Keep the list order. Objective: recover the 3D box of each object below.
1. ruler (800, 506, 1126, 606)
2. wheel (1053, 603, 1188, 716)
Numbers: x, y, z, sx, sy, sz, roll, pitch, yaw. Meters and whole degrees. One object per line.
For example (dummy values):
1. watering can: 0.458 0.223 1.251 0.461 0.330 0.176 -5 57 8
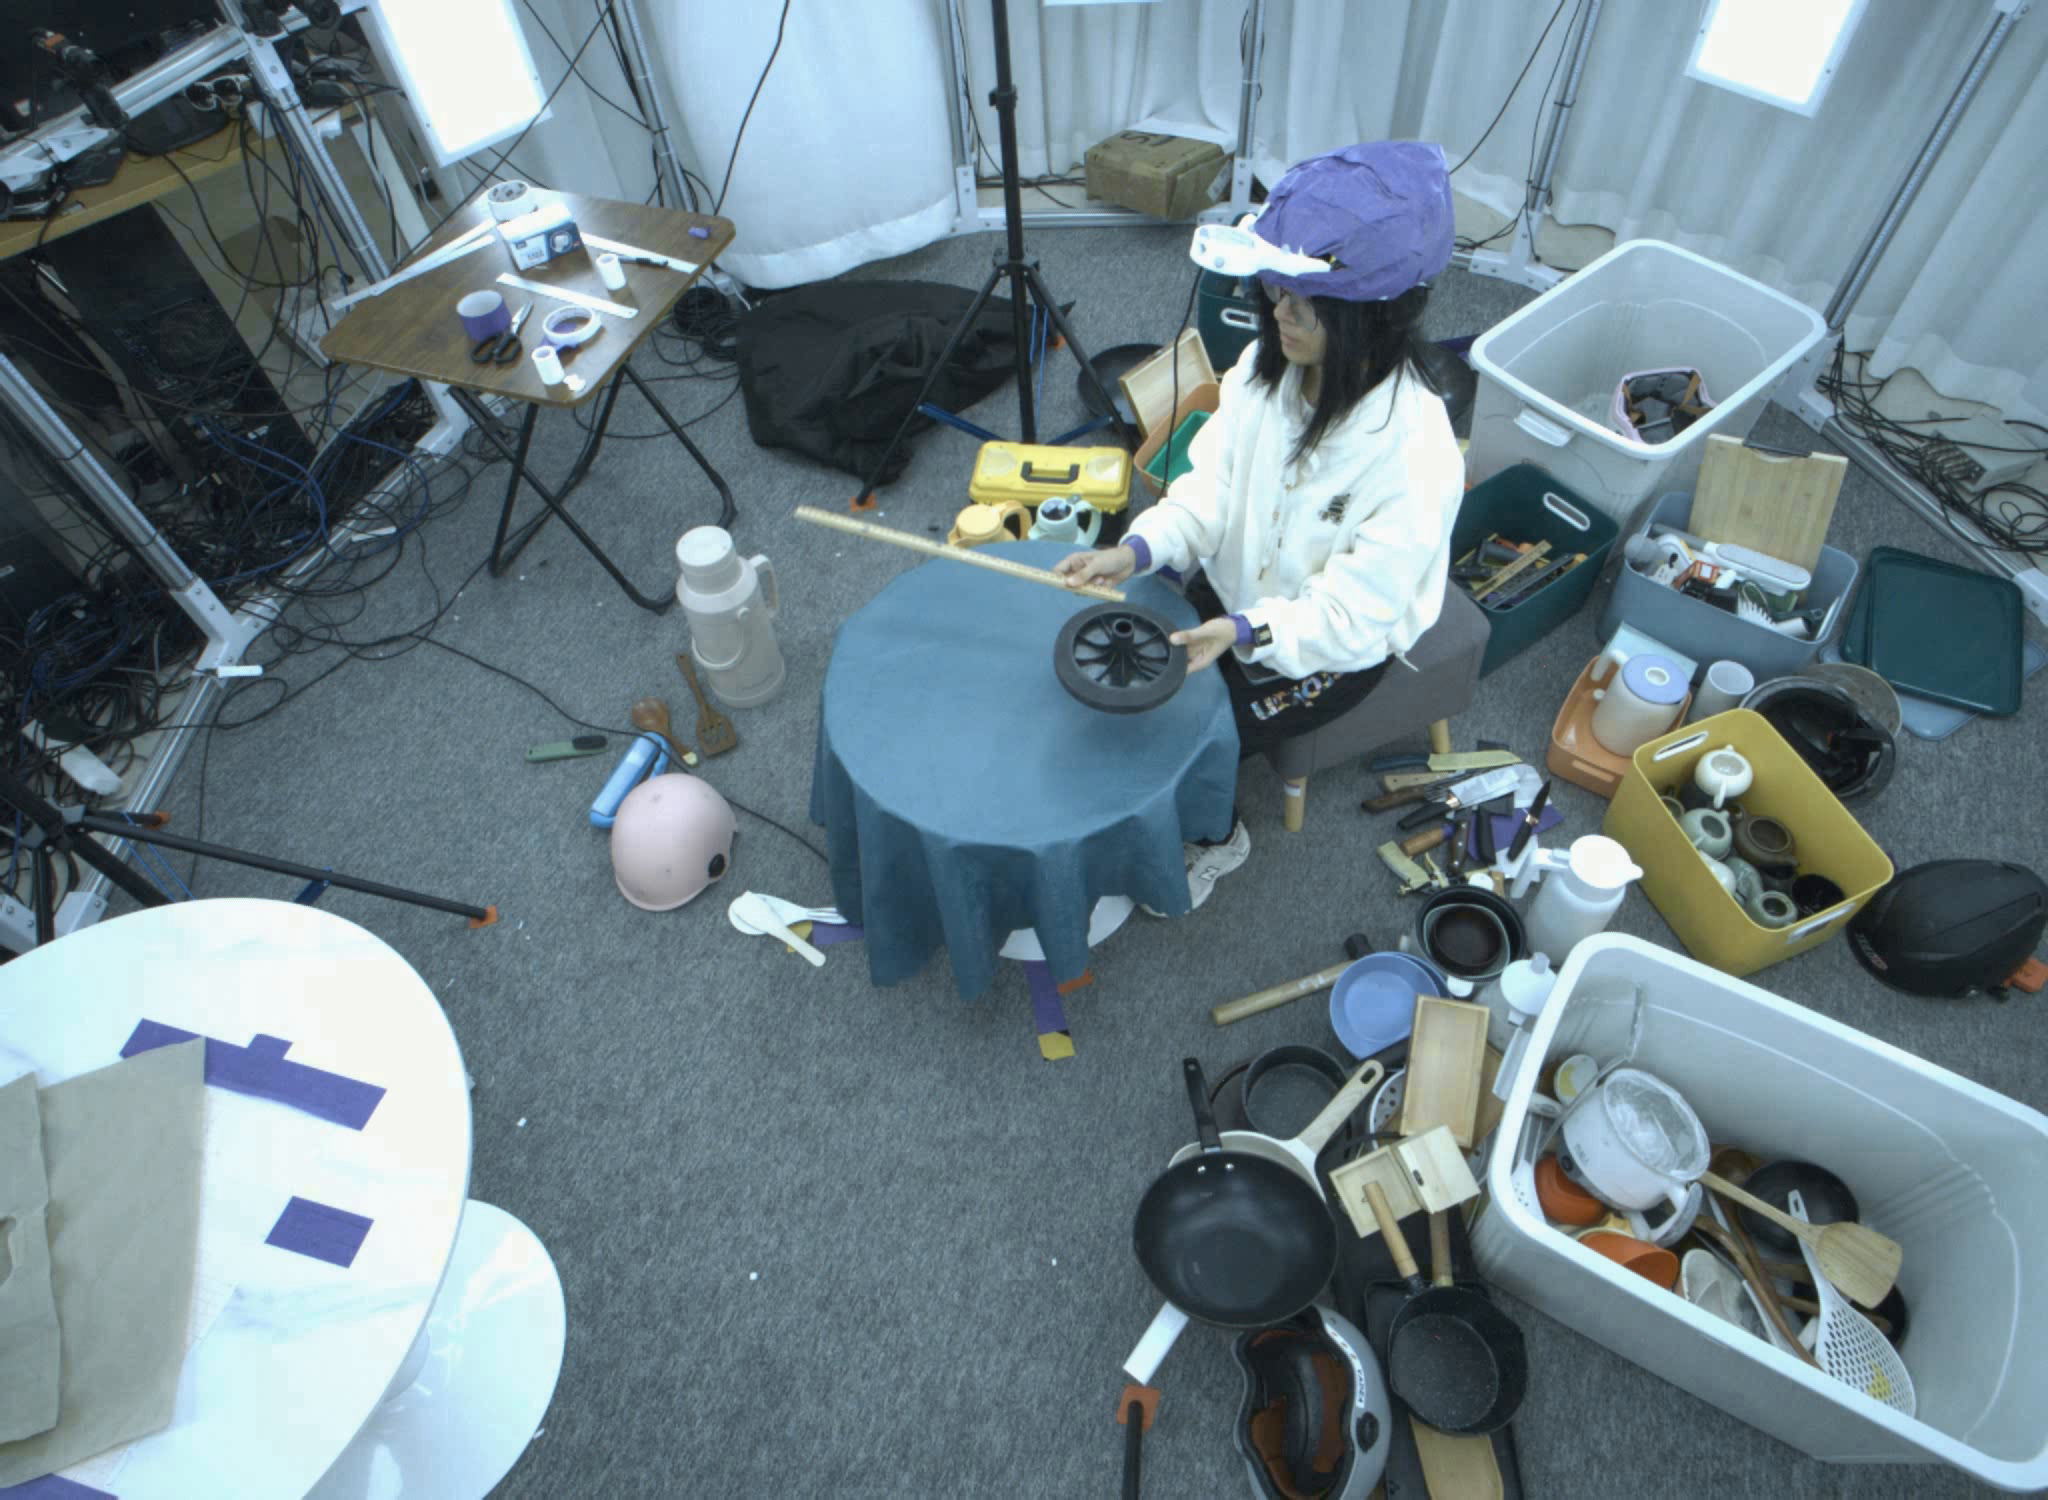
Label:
1. ruler: -0.094 -0.288 1.781 0.500 0.006 0.027 17 46 2
2. wheel: 0.135 -0.140 1.702 0.190 0.080 0.186 4 57 0
